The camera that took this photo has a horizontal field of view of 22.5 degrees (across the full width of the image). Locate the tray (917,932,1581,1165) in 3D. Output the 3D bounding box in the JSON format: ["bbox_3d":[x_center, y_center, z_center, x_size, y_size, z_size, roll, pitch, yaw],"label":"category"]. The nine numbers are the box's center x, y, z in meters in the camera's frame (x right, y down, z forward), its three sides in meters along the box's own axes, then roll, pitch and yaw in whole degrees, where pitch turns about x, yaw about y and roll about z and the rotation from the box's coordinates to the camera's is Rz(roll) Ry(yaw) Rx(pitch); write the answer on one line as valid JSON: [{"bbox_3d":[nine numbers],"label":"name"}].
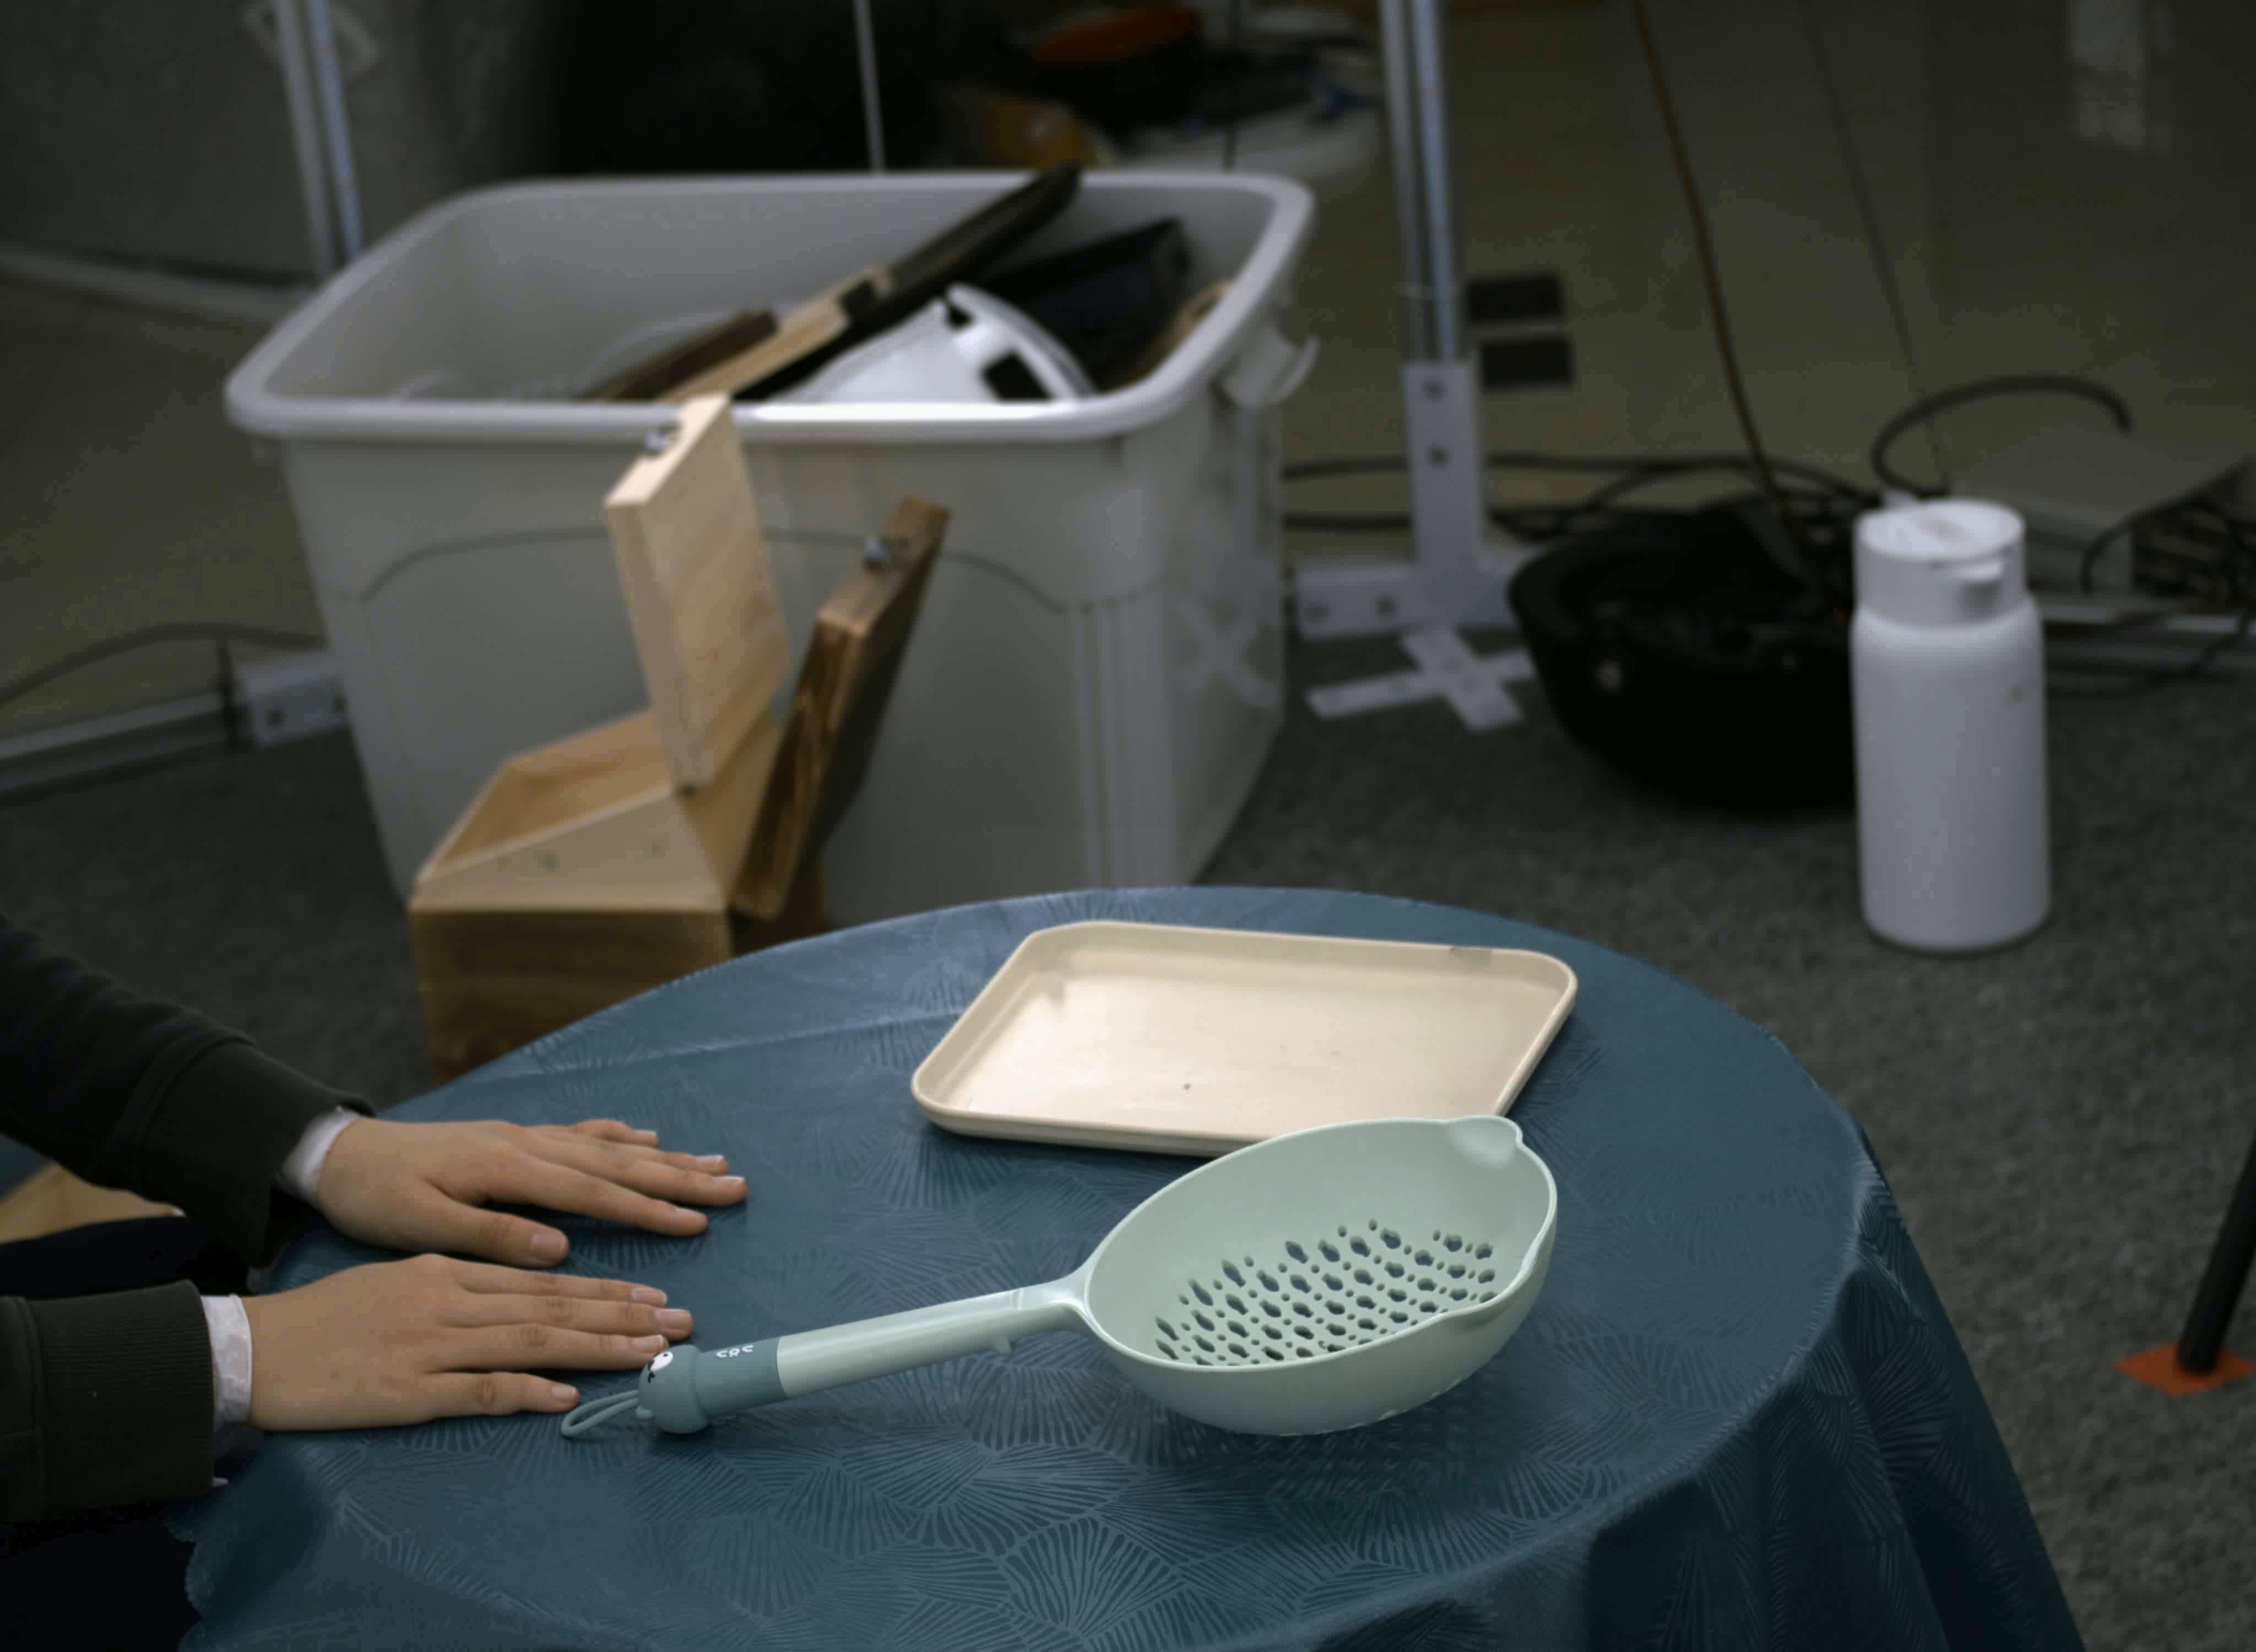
[{"bbox_3d":[0.049,0.089,2.230,0.239,0.018,0.169,3,26,21],"label":"tray"}]

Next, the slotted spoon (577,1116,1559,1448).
[{"bbox_3d":[-0.024,0.176,2.004,0.358,0.076,0.167,-4,24,6],"label":"slotted spoon"}]
